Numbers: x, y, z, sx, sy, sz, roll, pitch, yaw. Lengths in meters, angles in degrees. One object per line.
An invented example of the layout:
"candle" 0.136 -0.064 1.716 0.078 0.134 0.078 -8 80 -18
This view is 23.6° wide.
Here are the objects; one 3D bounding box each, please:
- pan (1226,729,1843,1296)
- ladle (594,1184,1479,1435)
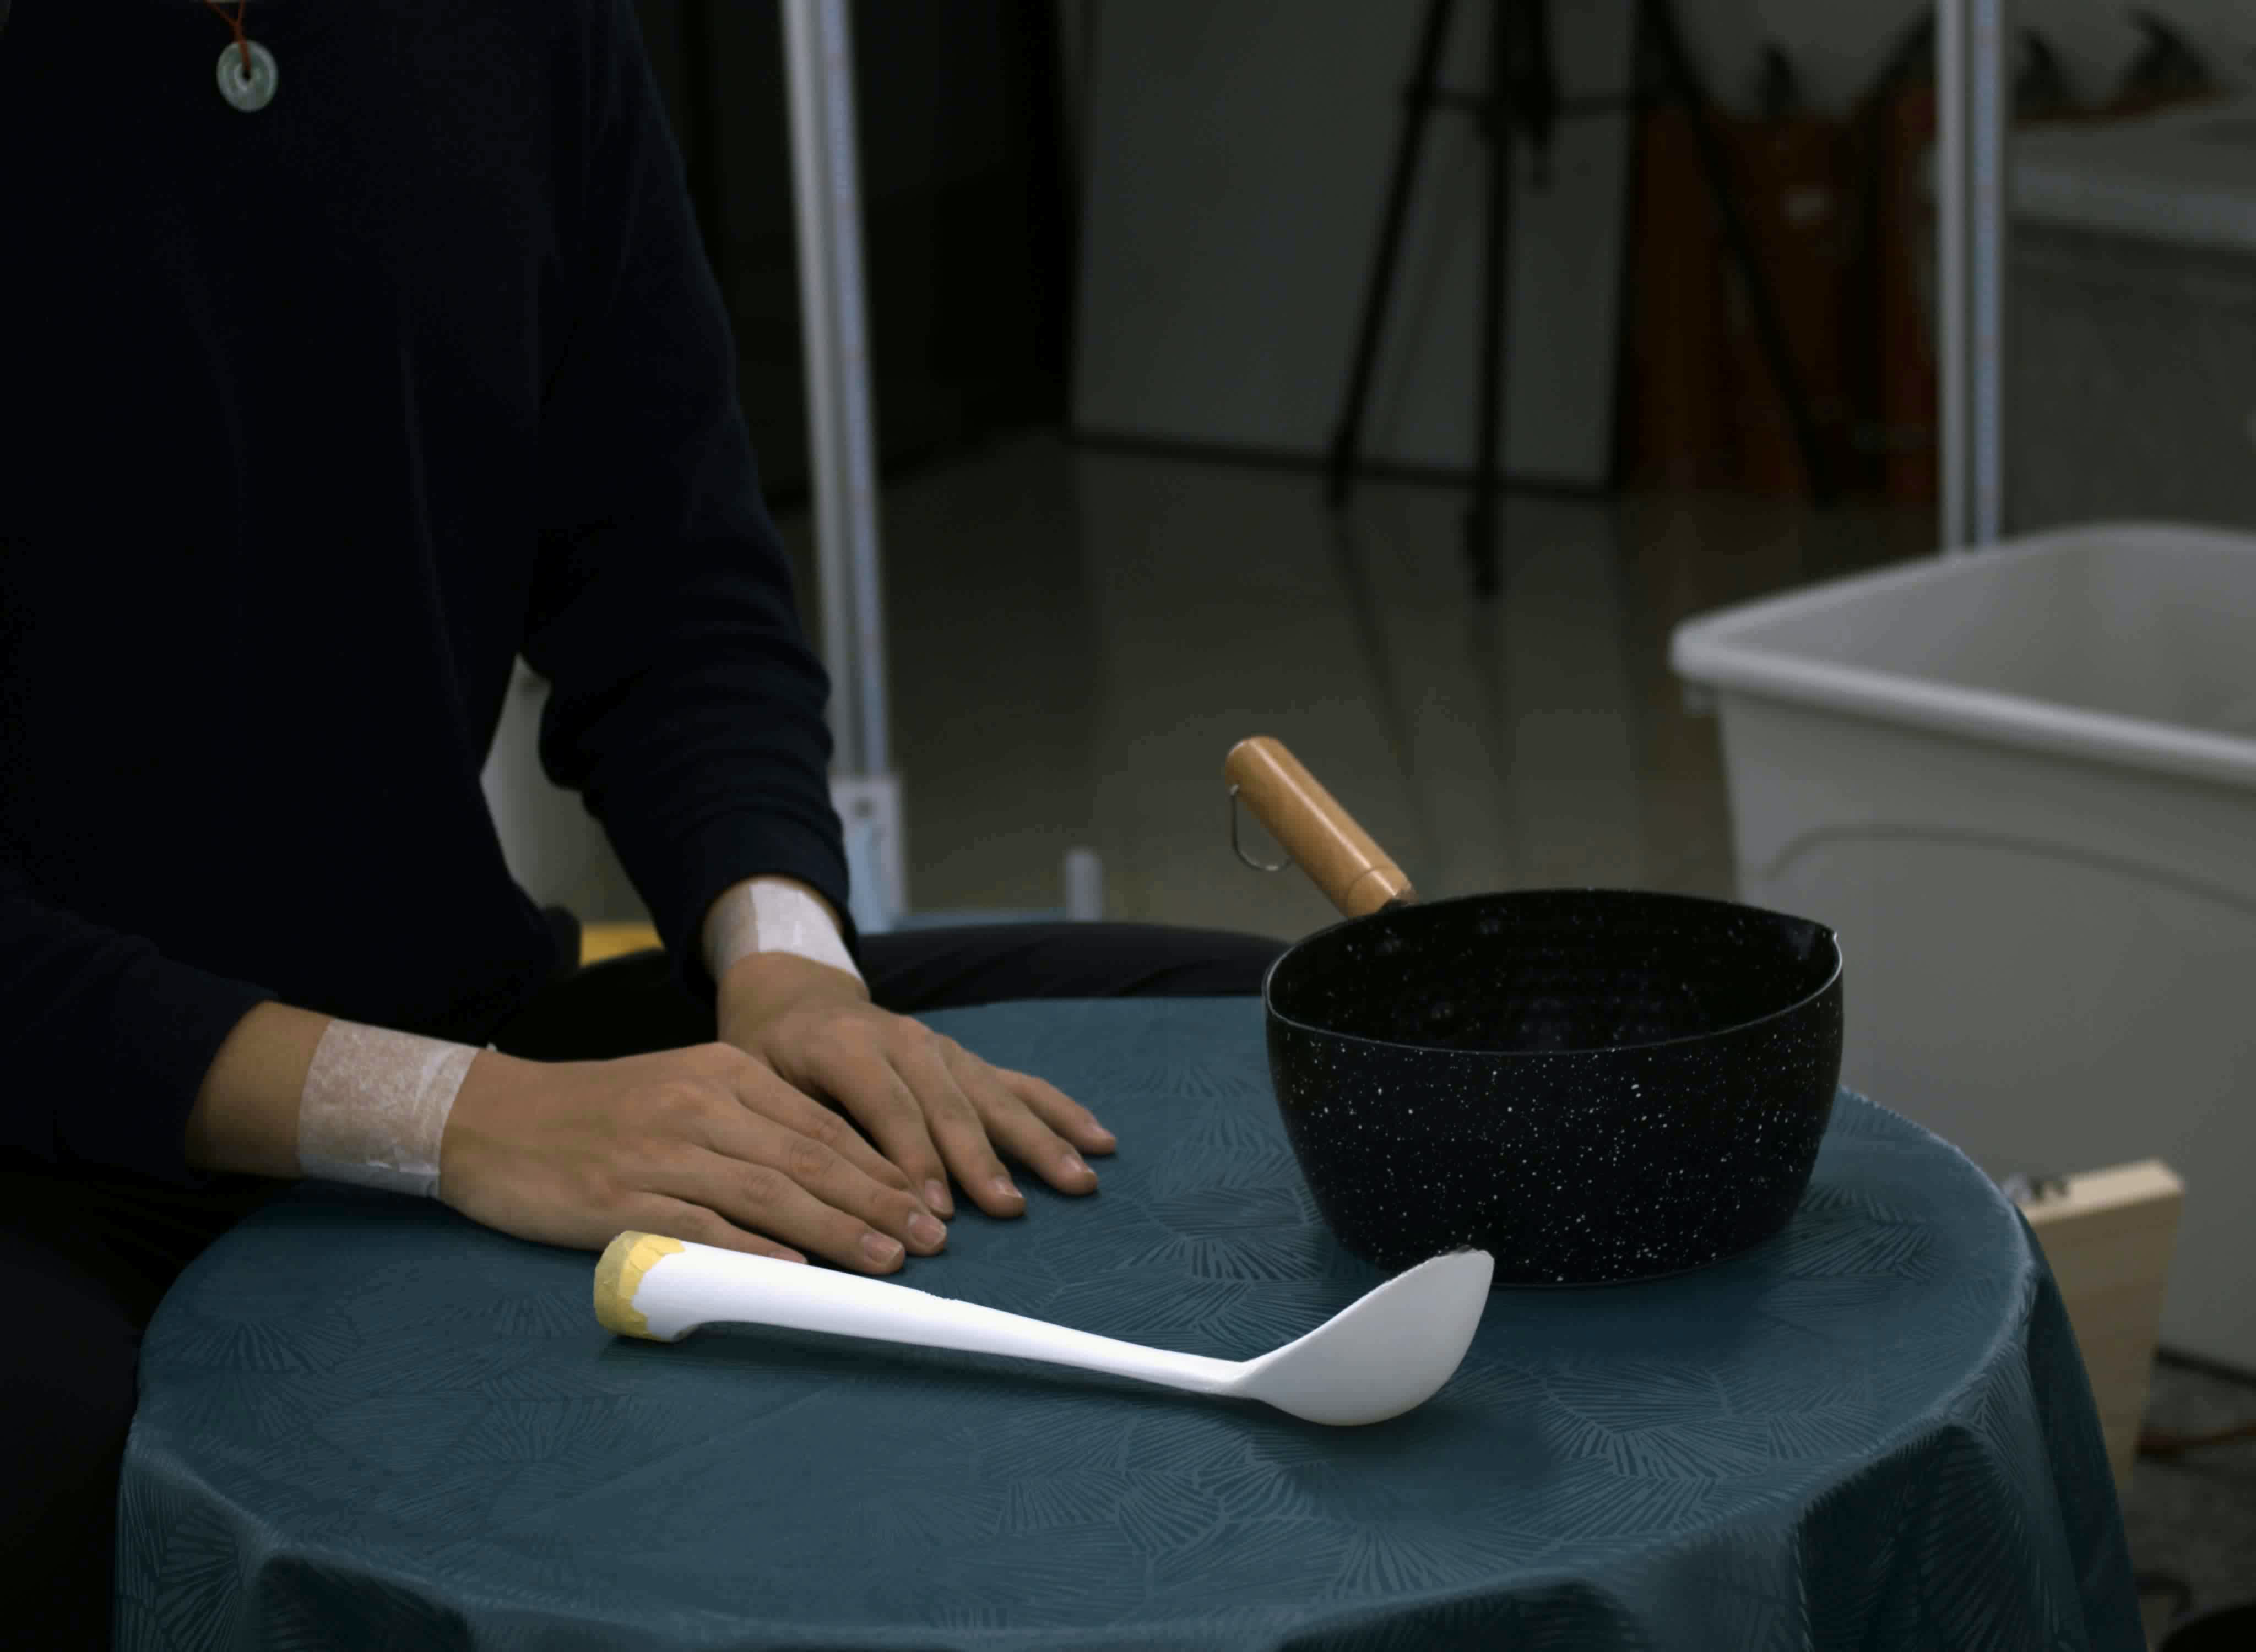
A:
"pan" 0.105 0.056 1.777 0.203 0.109 0.346 -10 16 -20
"ladle" -0.031 0.136 1.585 0.294 0.070 0.089 3 21 29
